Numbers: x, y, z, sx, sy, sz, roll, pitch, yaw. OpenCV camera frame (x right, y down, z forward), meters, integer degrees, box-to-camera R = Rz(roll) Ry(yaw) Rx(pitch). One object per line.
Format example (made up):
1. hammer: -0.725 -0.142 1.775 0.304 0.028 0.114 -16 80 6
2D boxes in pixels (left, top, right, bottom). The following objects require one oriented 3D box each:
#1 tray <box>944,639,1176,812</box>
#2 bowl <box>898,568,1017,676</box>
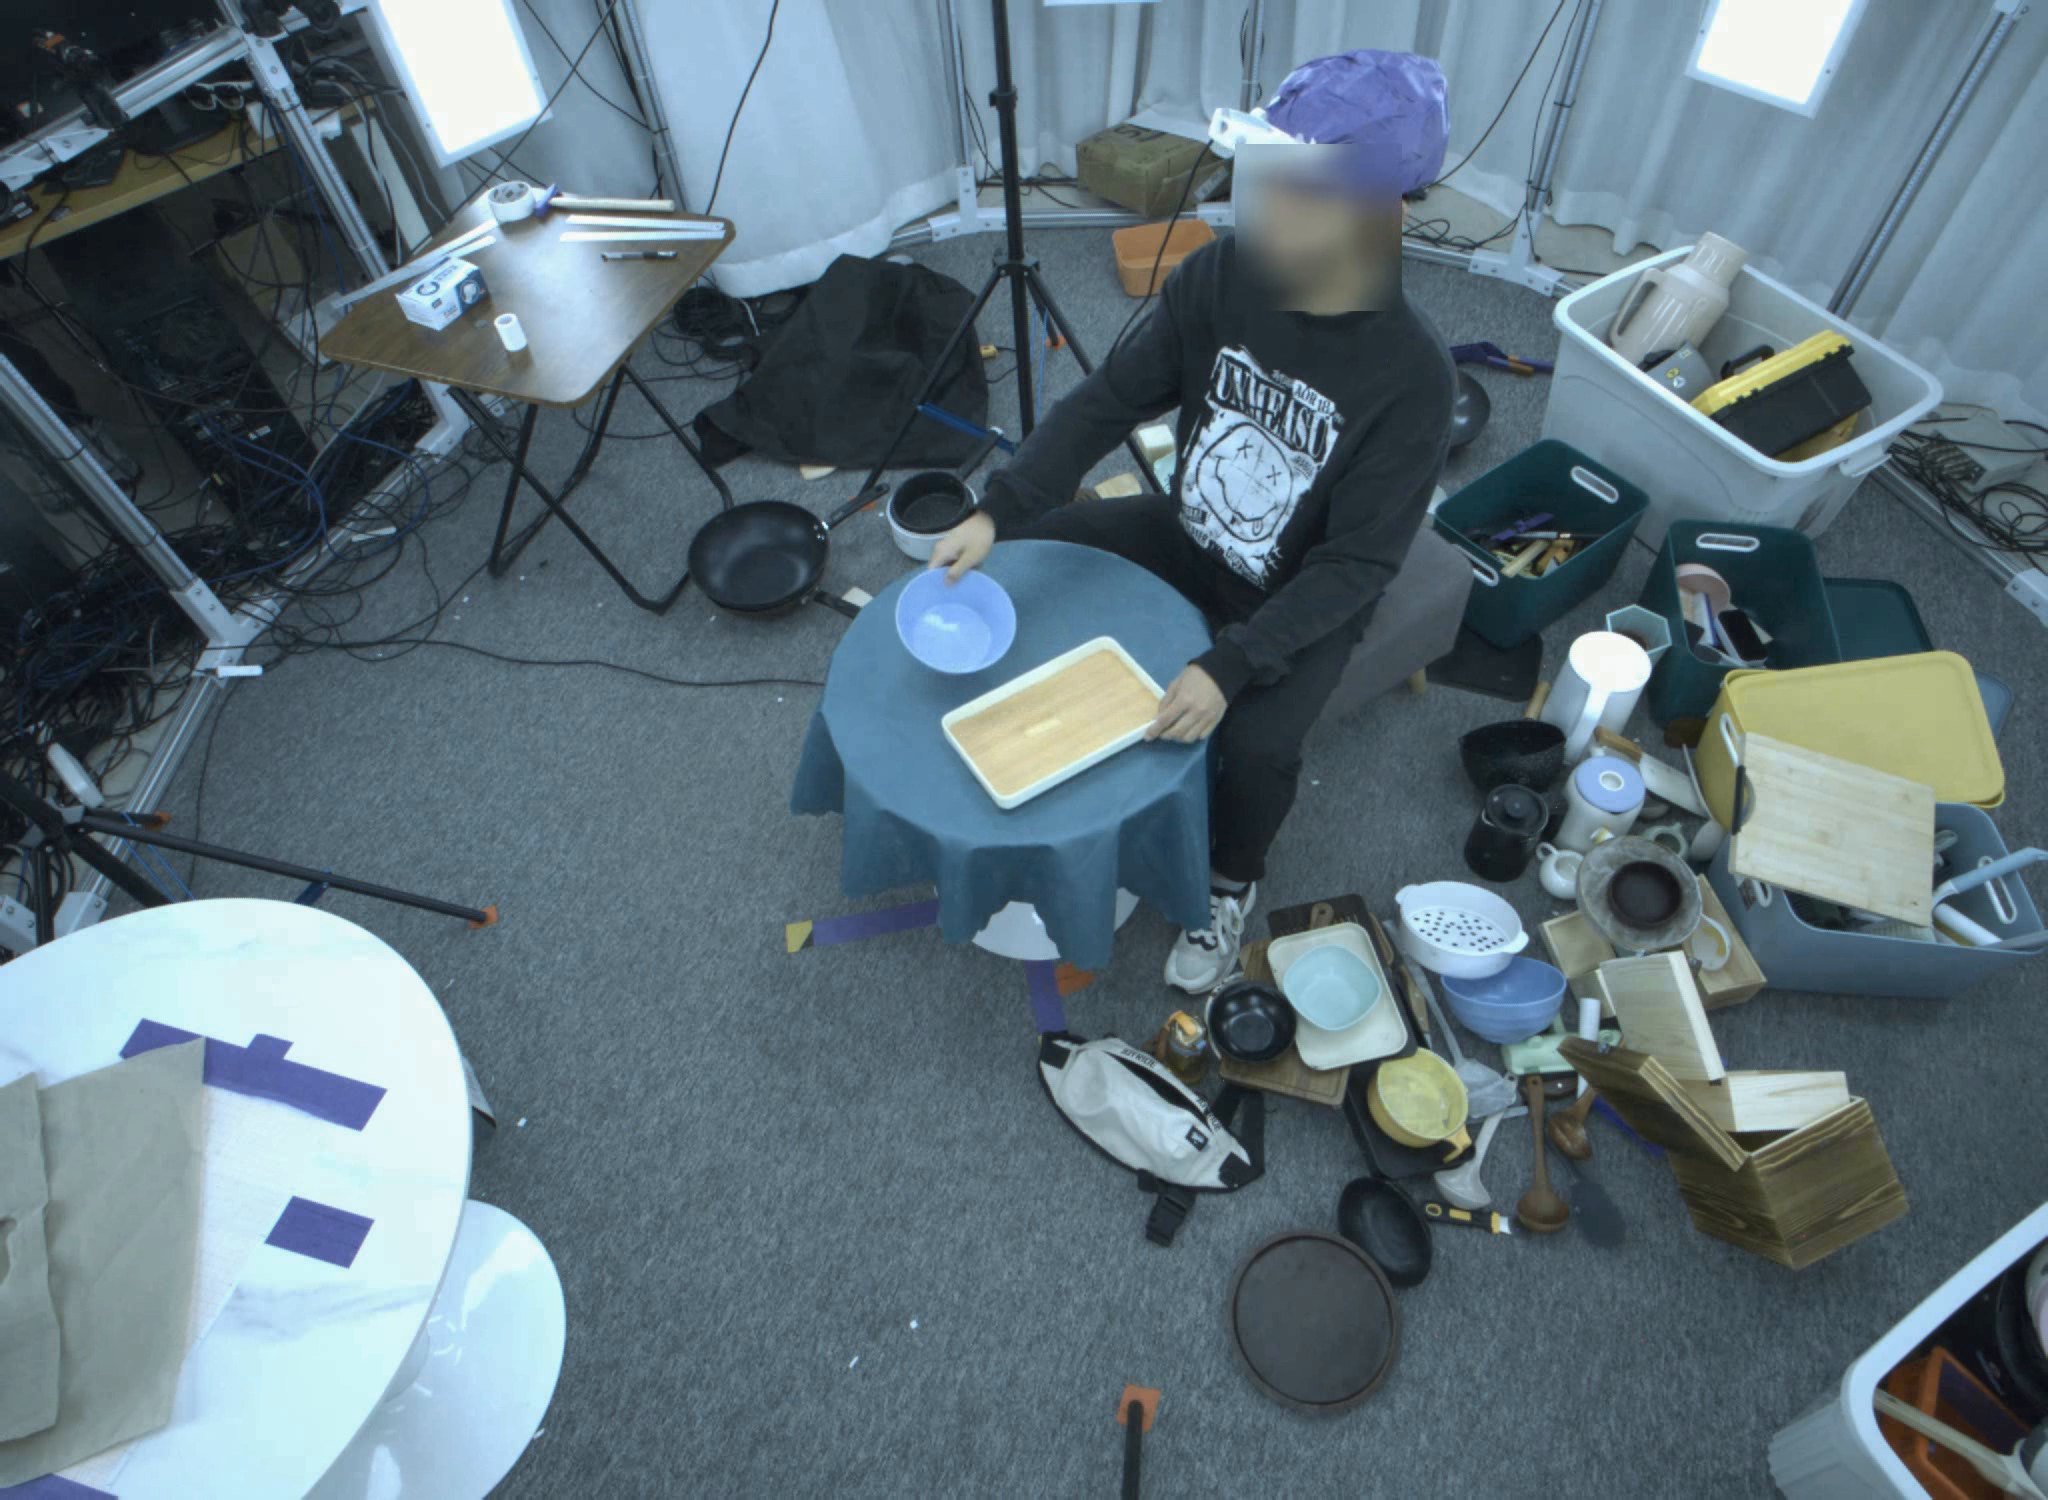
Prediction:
1. tray: 0.053 -0.040 1.800 0.302 0.028 0.187 -28 54 -16
2. bowl: -0.101 -0.176 1.807 0.178 0.070 0.175 5 68 -12
